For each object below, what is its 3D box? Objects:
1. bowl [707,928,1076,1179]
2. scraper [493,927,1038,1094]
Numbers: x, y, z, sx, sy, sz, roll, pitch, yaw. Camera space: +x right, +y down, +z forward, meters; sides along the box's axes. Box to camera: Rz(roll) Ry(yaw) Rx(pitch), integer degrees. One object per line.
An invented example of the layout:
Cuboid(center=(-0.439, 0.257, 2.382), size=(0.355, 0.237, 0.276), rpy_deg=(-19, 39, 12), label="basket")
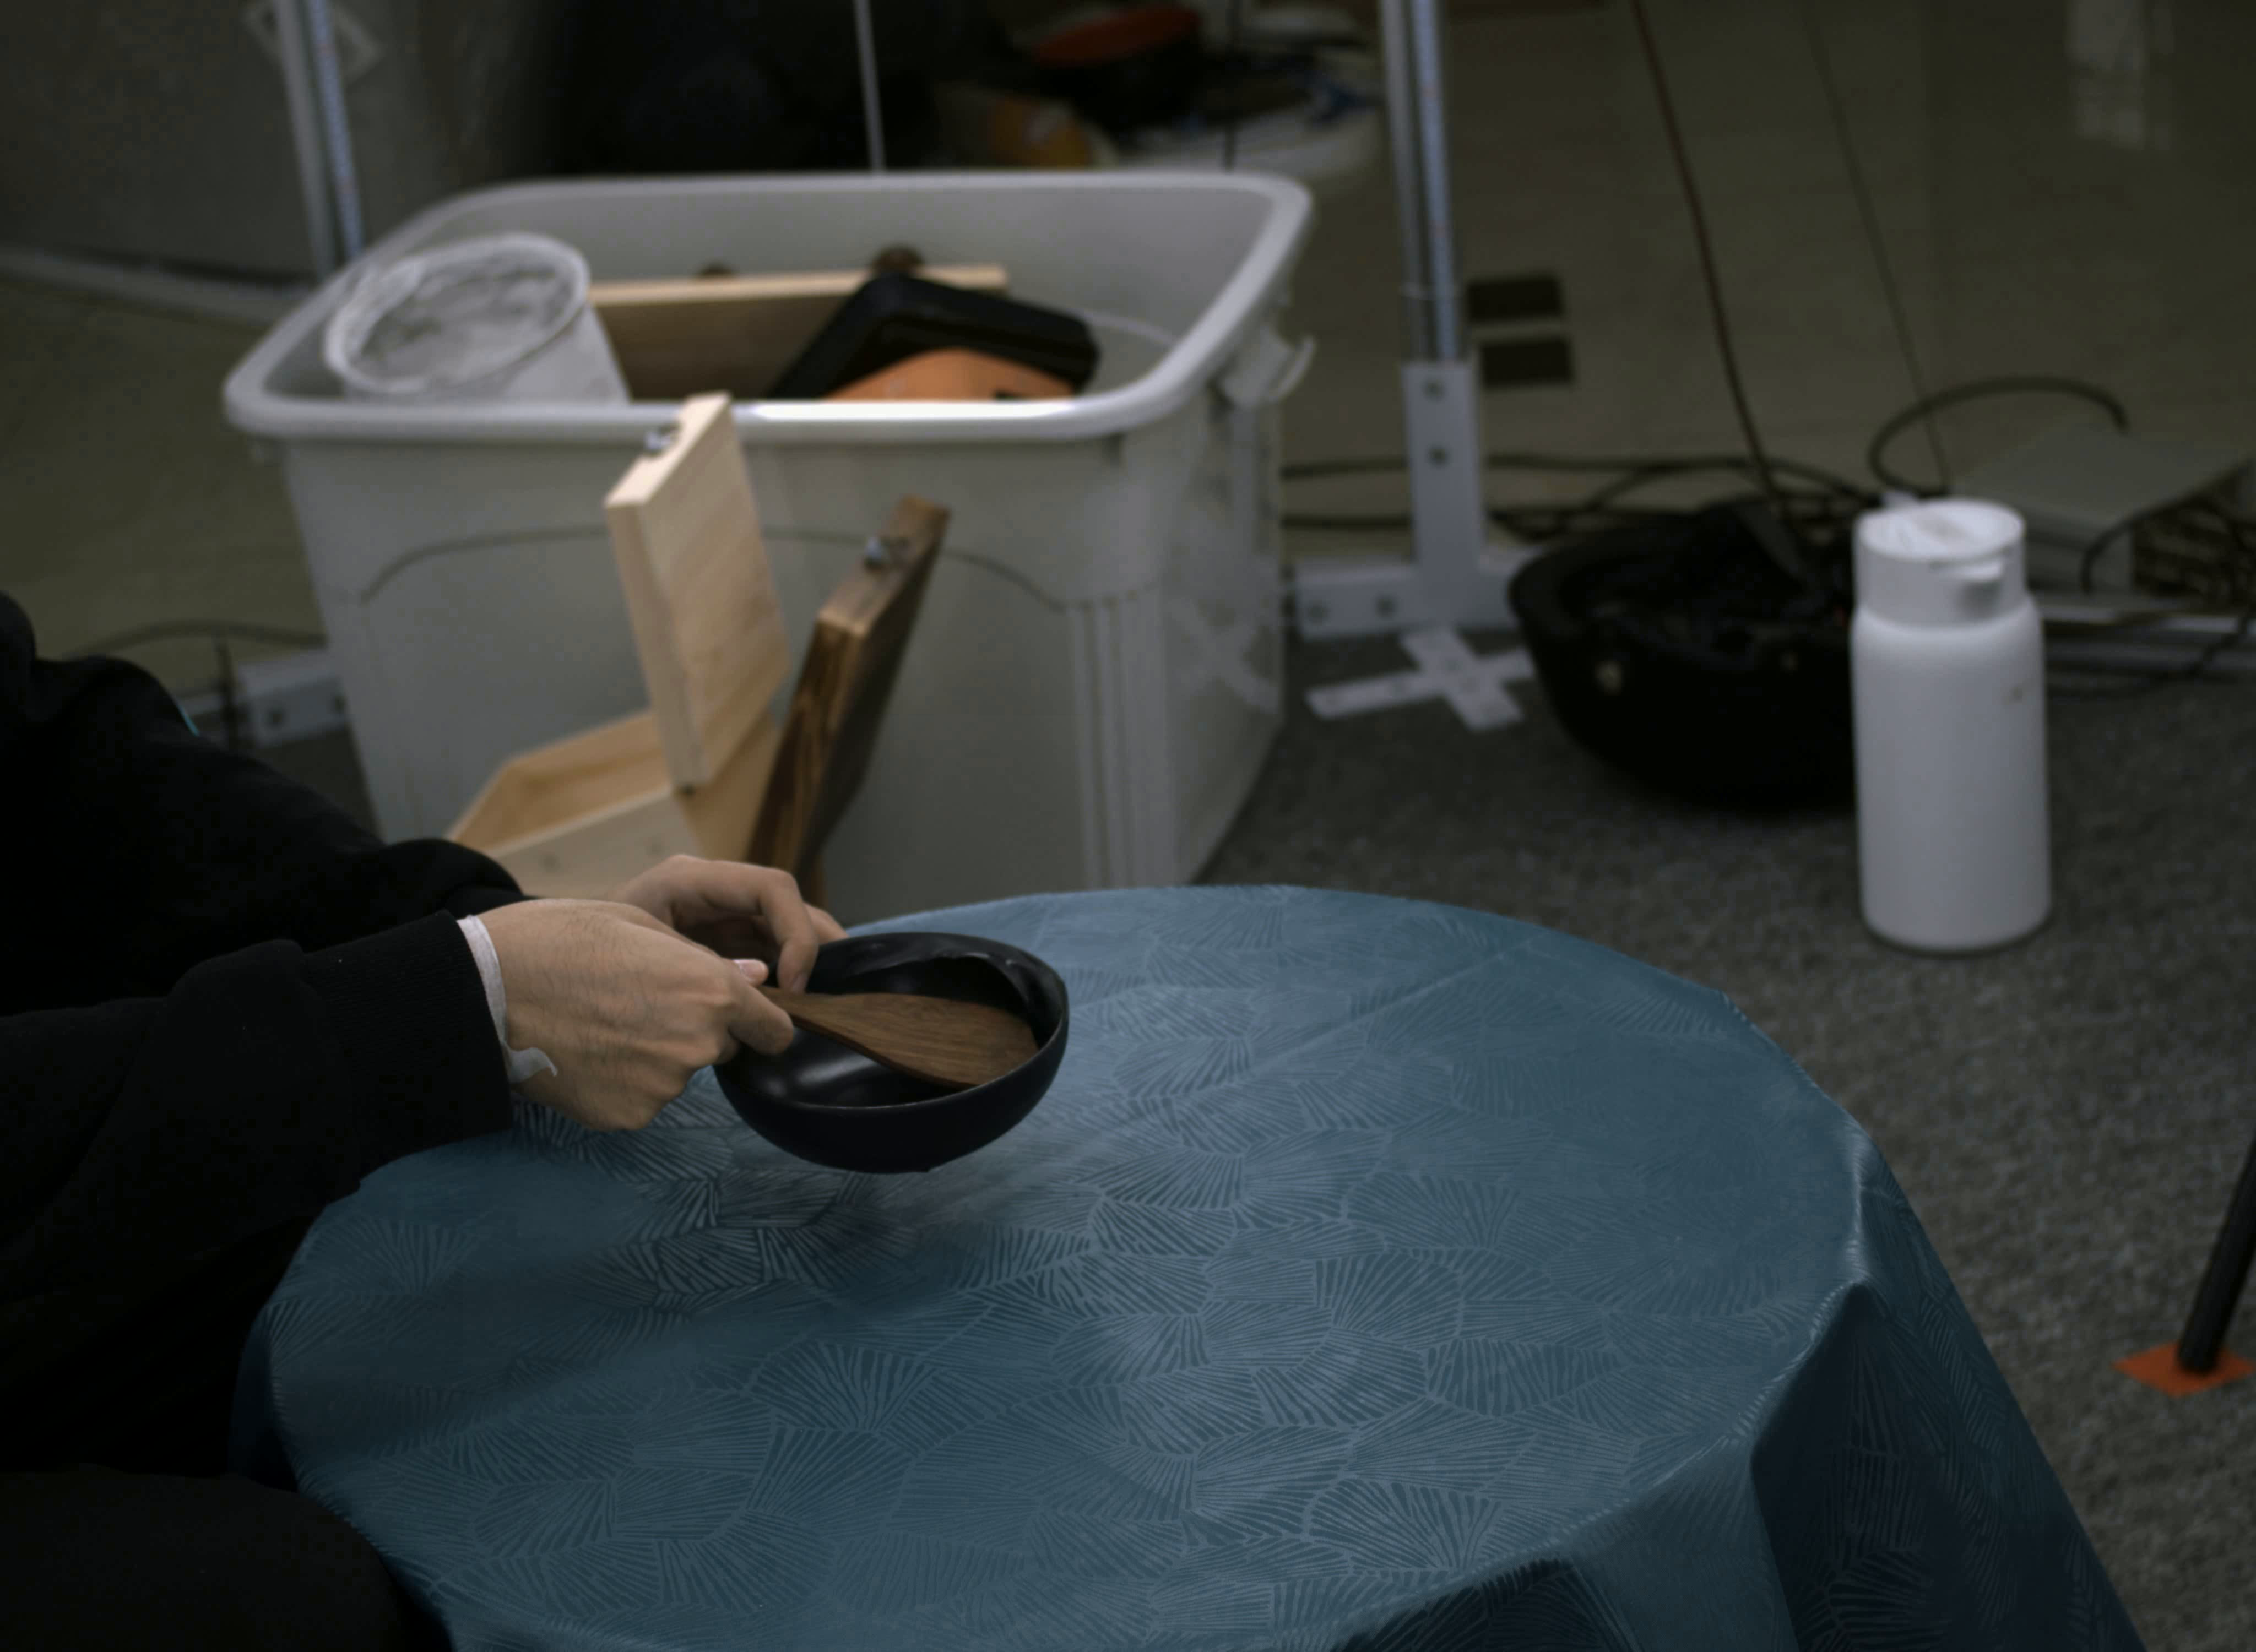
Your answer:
Cuboid(center=(-0.088, 0.094, 2.145), size=(0.140, 0.050, 0.138), rpy_deg=(-4, 30, 2), label="bowl")
Cuboid(center=(-0.135, 0.066, 2.124), size=(0.211, 0.011, 0.075), rpy_deg=(13, 23, -14), label="scraper")
